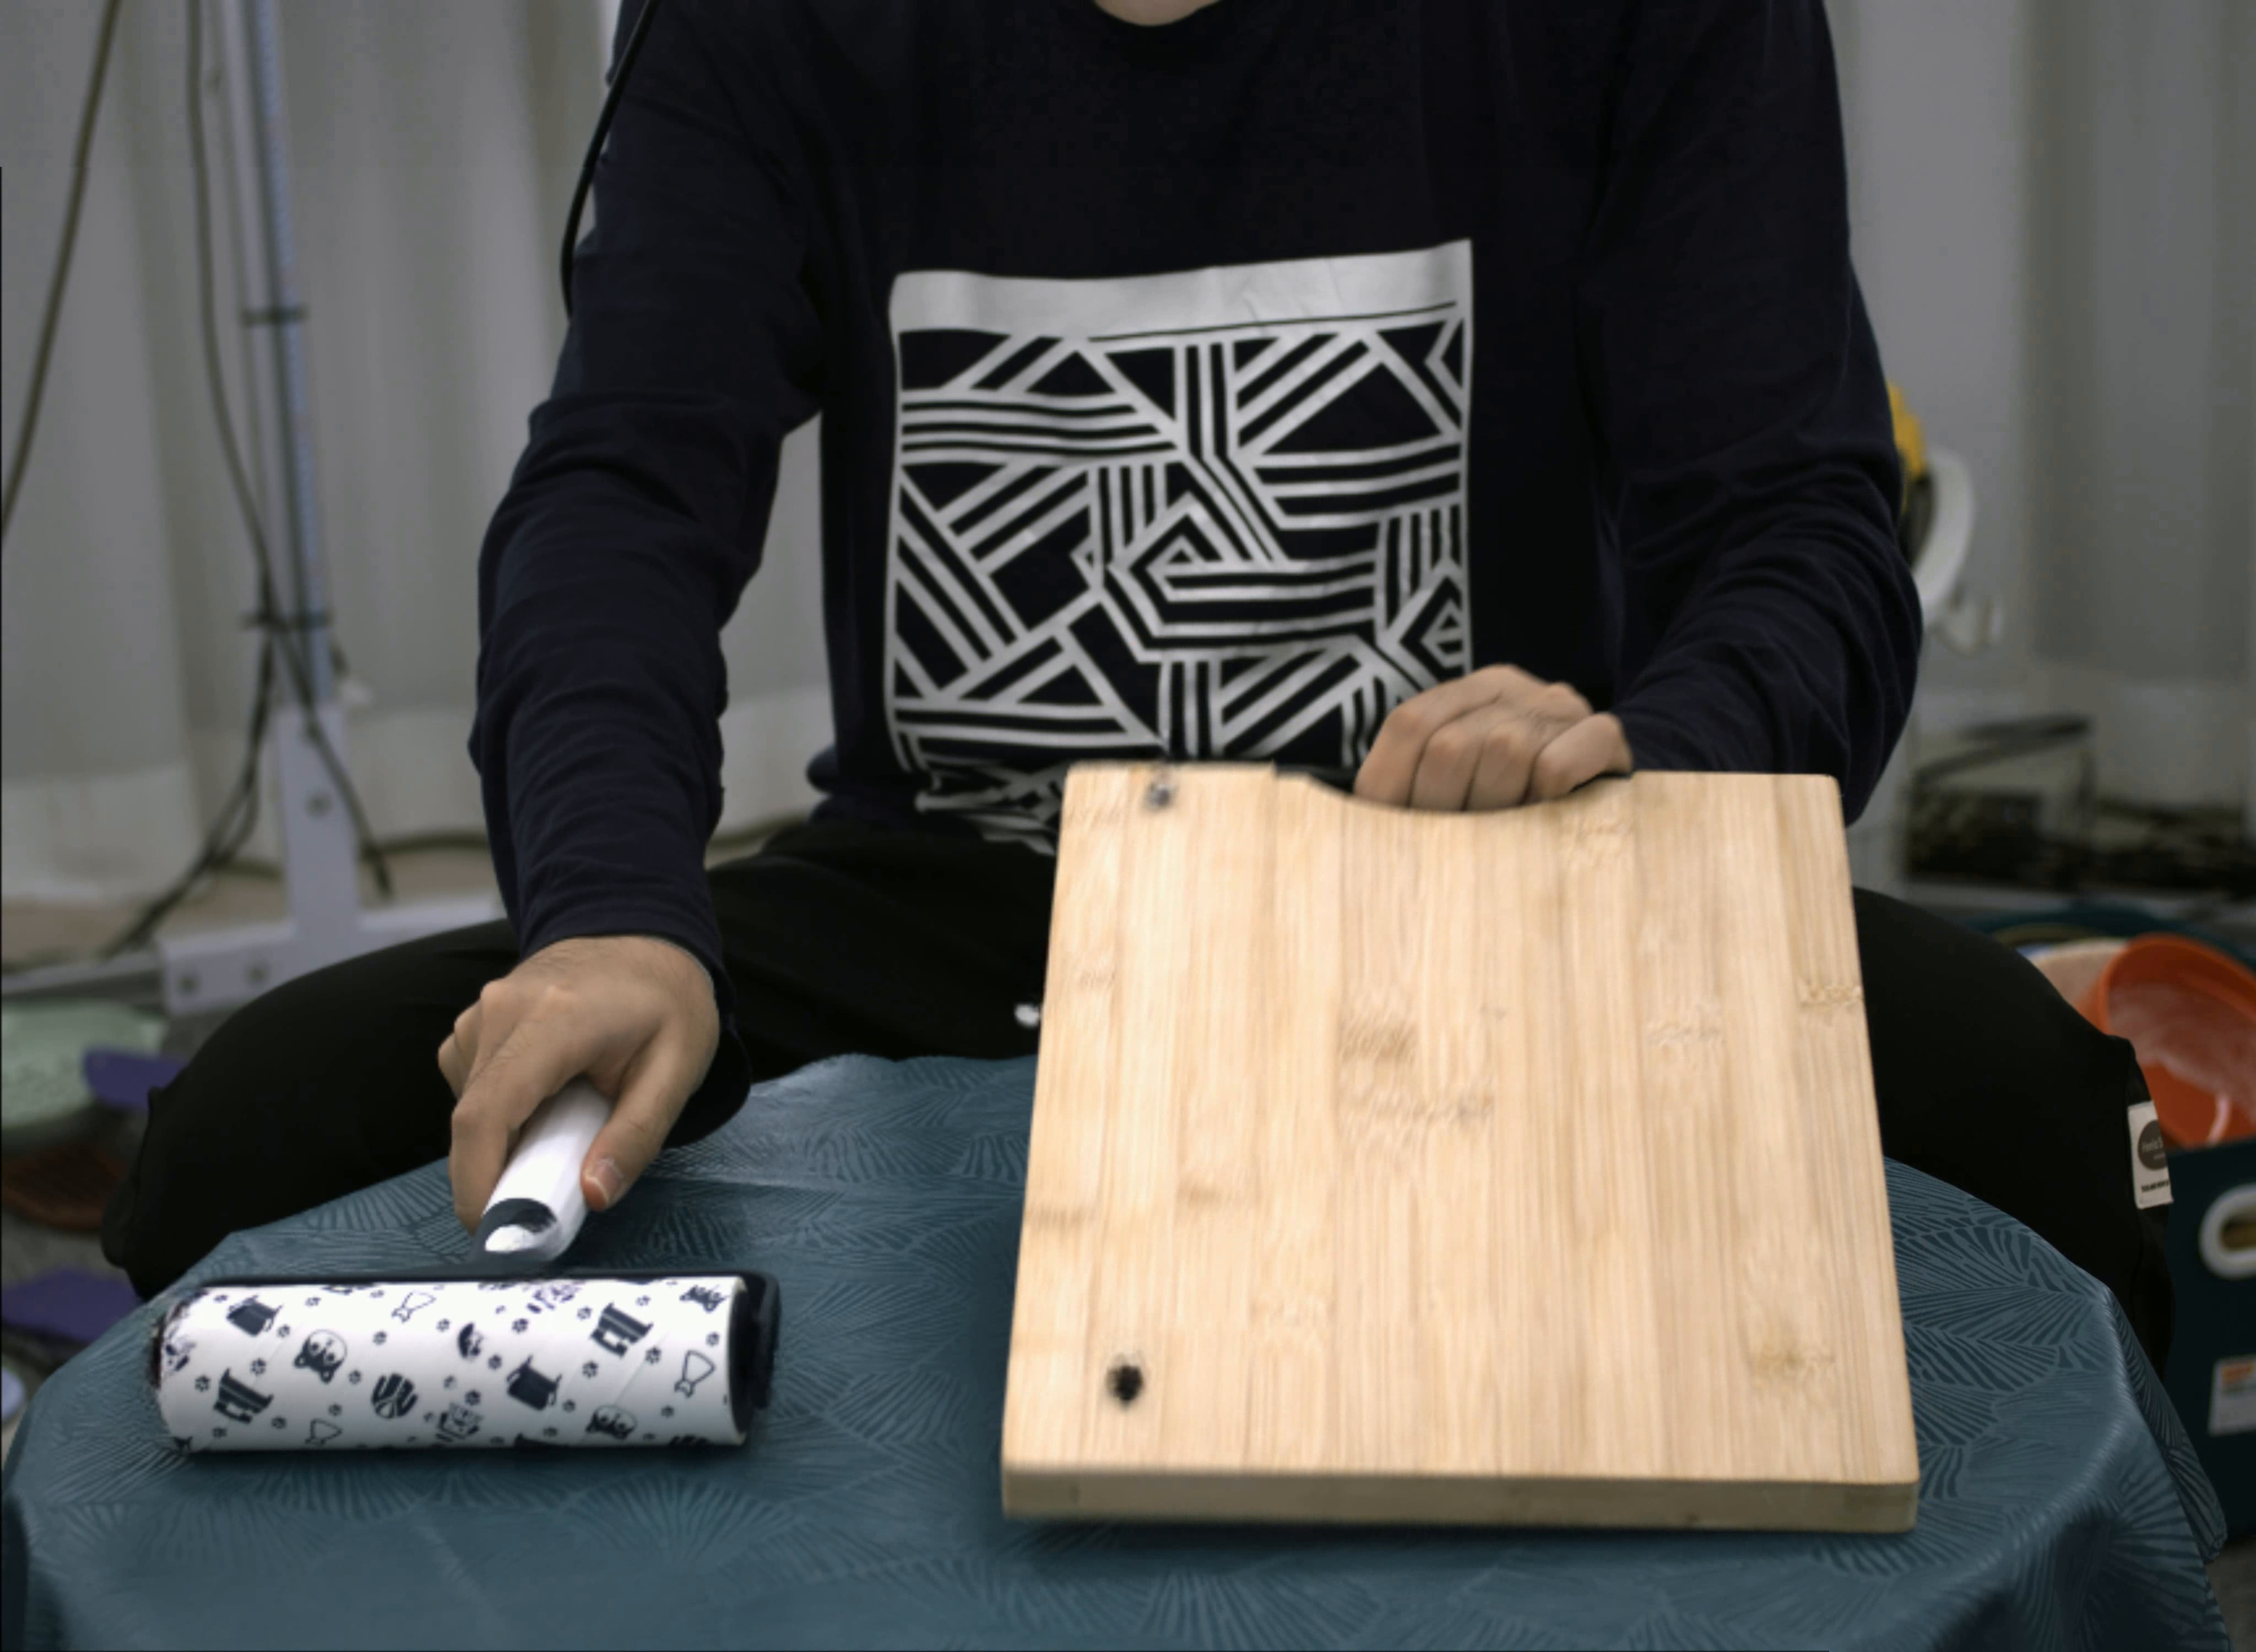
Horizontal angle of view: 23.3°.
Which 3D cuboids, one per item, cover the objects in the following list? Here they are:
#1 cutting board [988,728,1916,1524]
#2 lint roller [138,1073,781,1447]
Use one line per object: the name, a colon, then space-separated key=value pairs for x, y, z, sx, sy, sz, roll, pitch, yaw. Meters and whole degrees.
cutting board: x=0.094 y=0.077 z=1.567 sx=0.250 sy=0.023 sz=0.353 roll=2 pitch=33 yaw=1
lint roller: x=-0.180 y=0.117 z=1.622 sx=0.176 sy=0.050 sz=0.249 roll=-3 pitch=18 yaw=5
